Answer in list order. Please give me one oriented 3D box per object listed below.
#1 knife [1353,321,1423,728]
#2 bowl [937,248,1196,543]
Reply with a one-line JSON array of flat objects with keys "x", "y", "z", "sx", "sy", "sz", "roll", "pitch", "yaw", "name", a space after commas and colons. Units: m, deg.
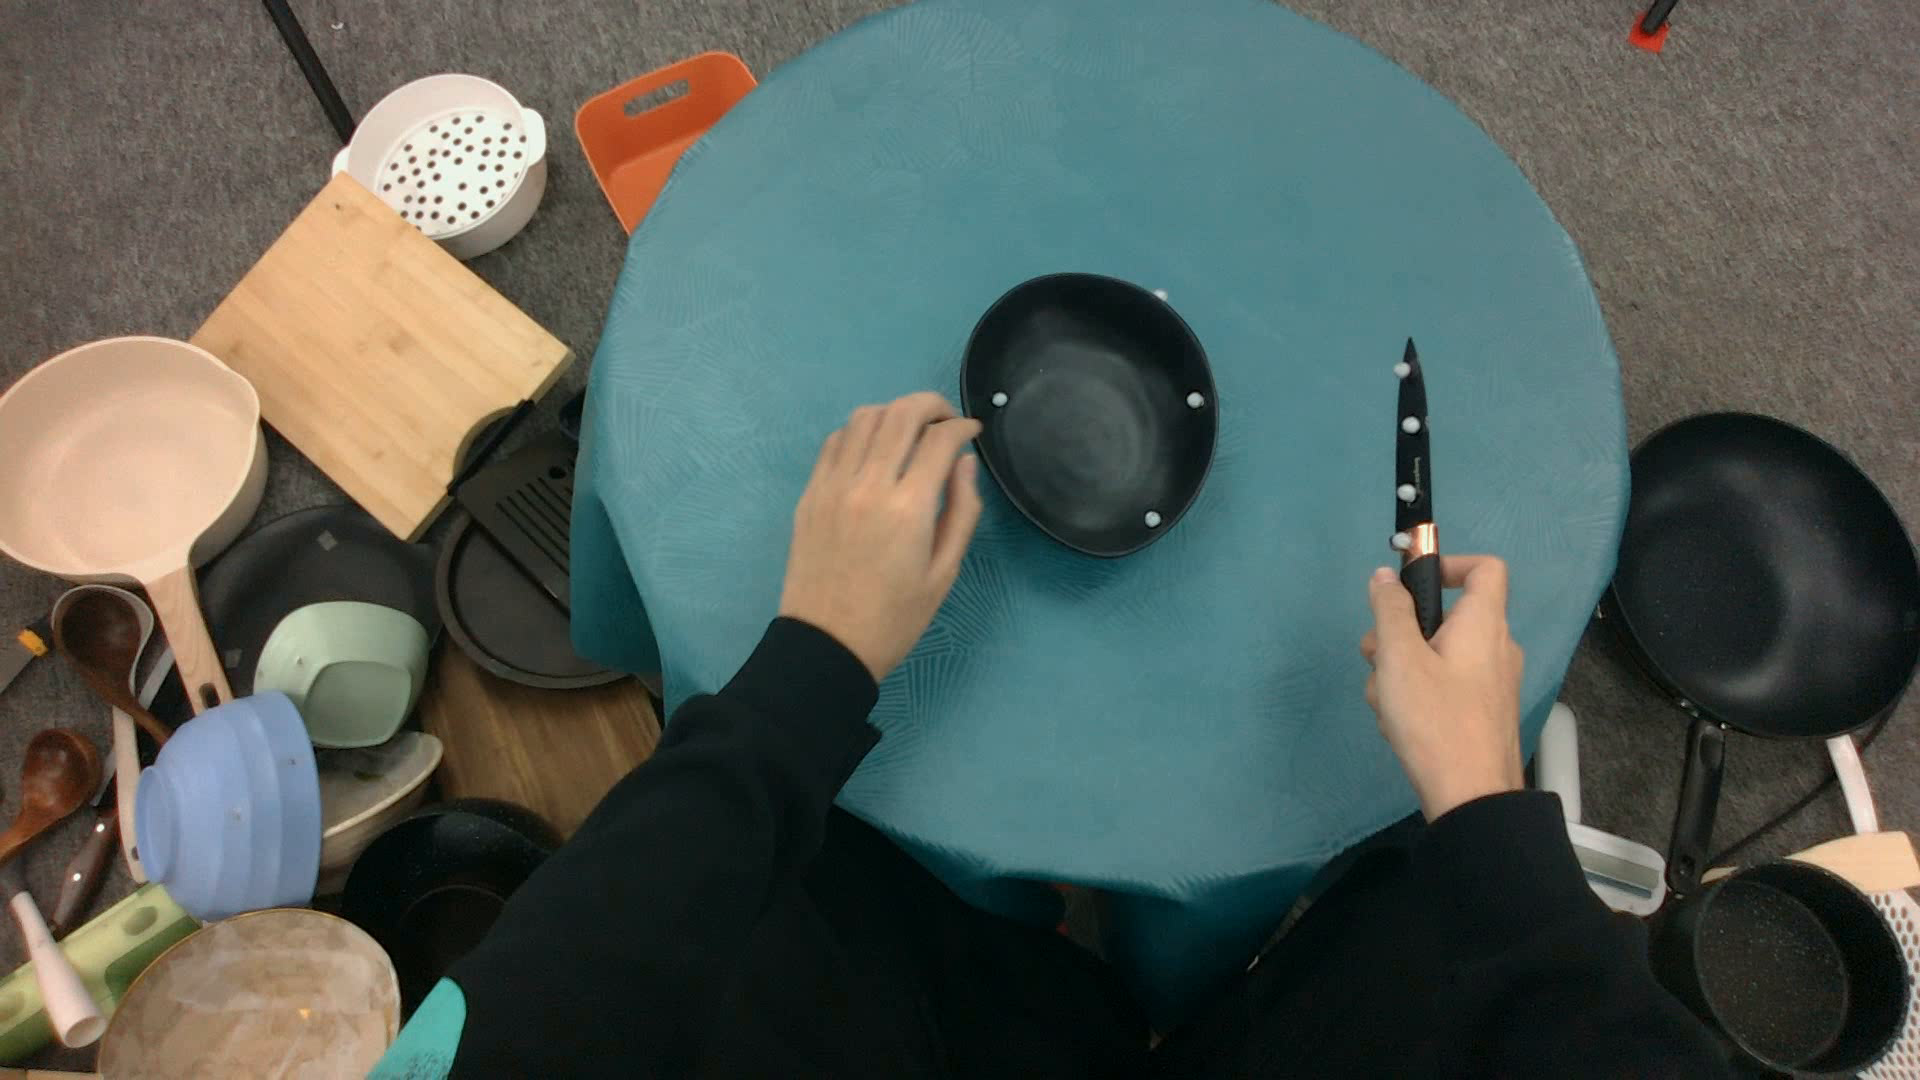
[{"x": 0.213, "y": -0.015, "z": 0.688, "sx": 0.017, "sy": 0.026, "sz": 0.226, "roll": 21, "pitch": 61, "yaw": -36, "name": "knife"}, {"x": 0.057, "y": -0.075, "z": 0.757, "sx": 0.137, "sy": 0.066, "sz": 0.170, "roll": -11, "pitch": 71, "yaw": -6, "name": "bowl"}]
